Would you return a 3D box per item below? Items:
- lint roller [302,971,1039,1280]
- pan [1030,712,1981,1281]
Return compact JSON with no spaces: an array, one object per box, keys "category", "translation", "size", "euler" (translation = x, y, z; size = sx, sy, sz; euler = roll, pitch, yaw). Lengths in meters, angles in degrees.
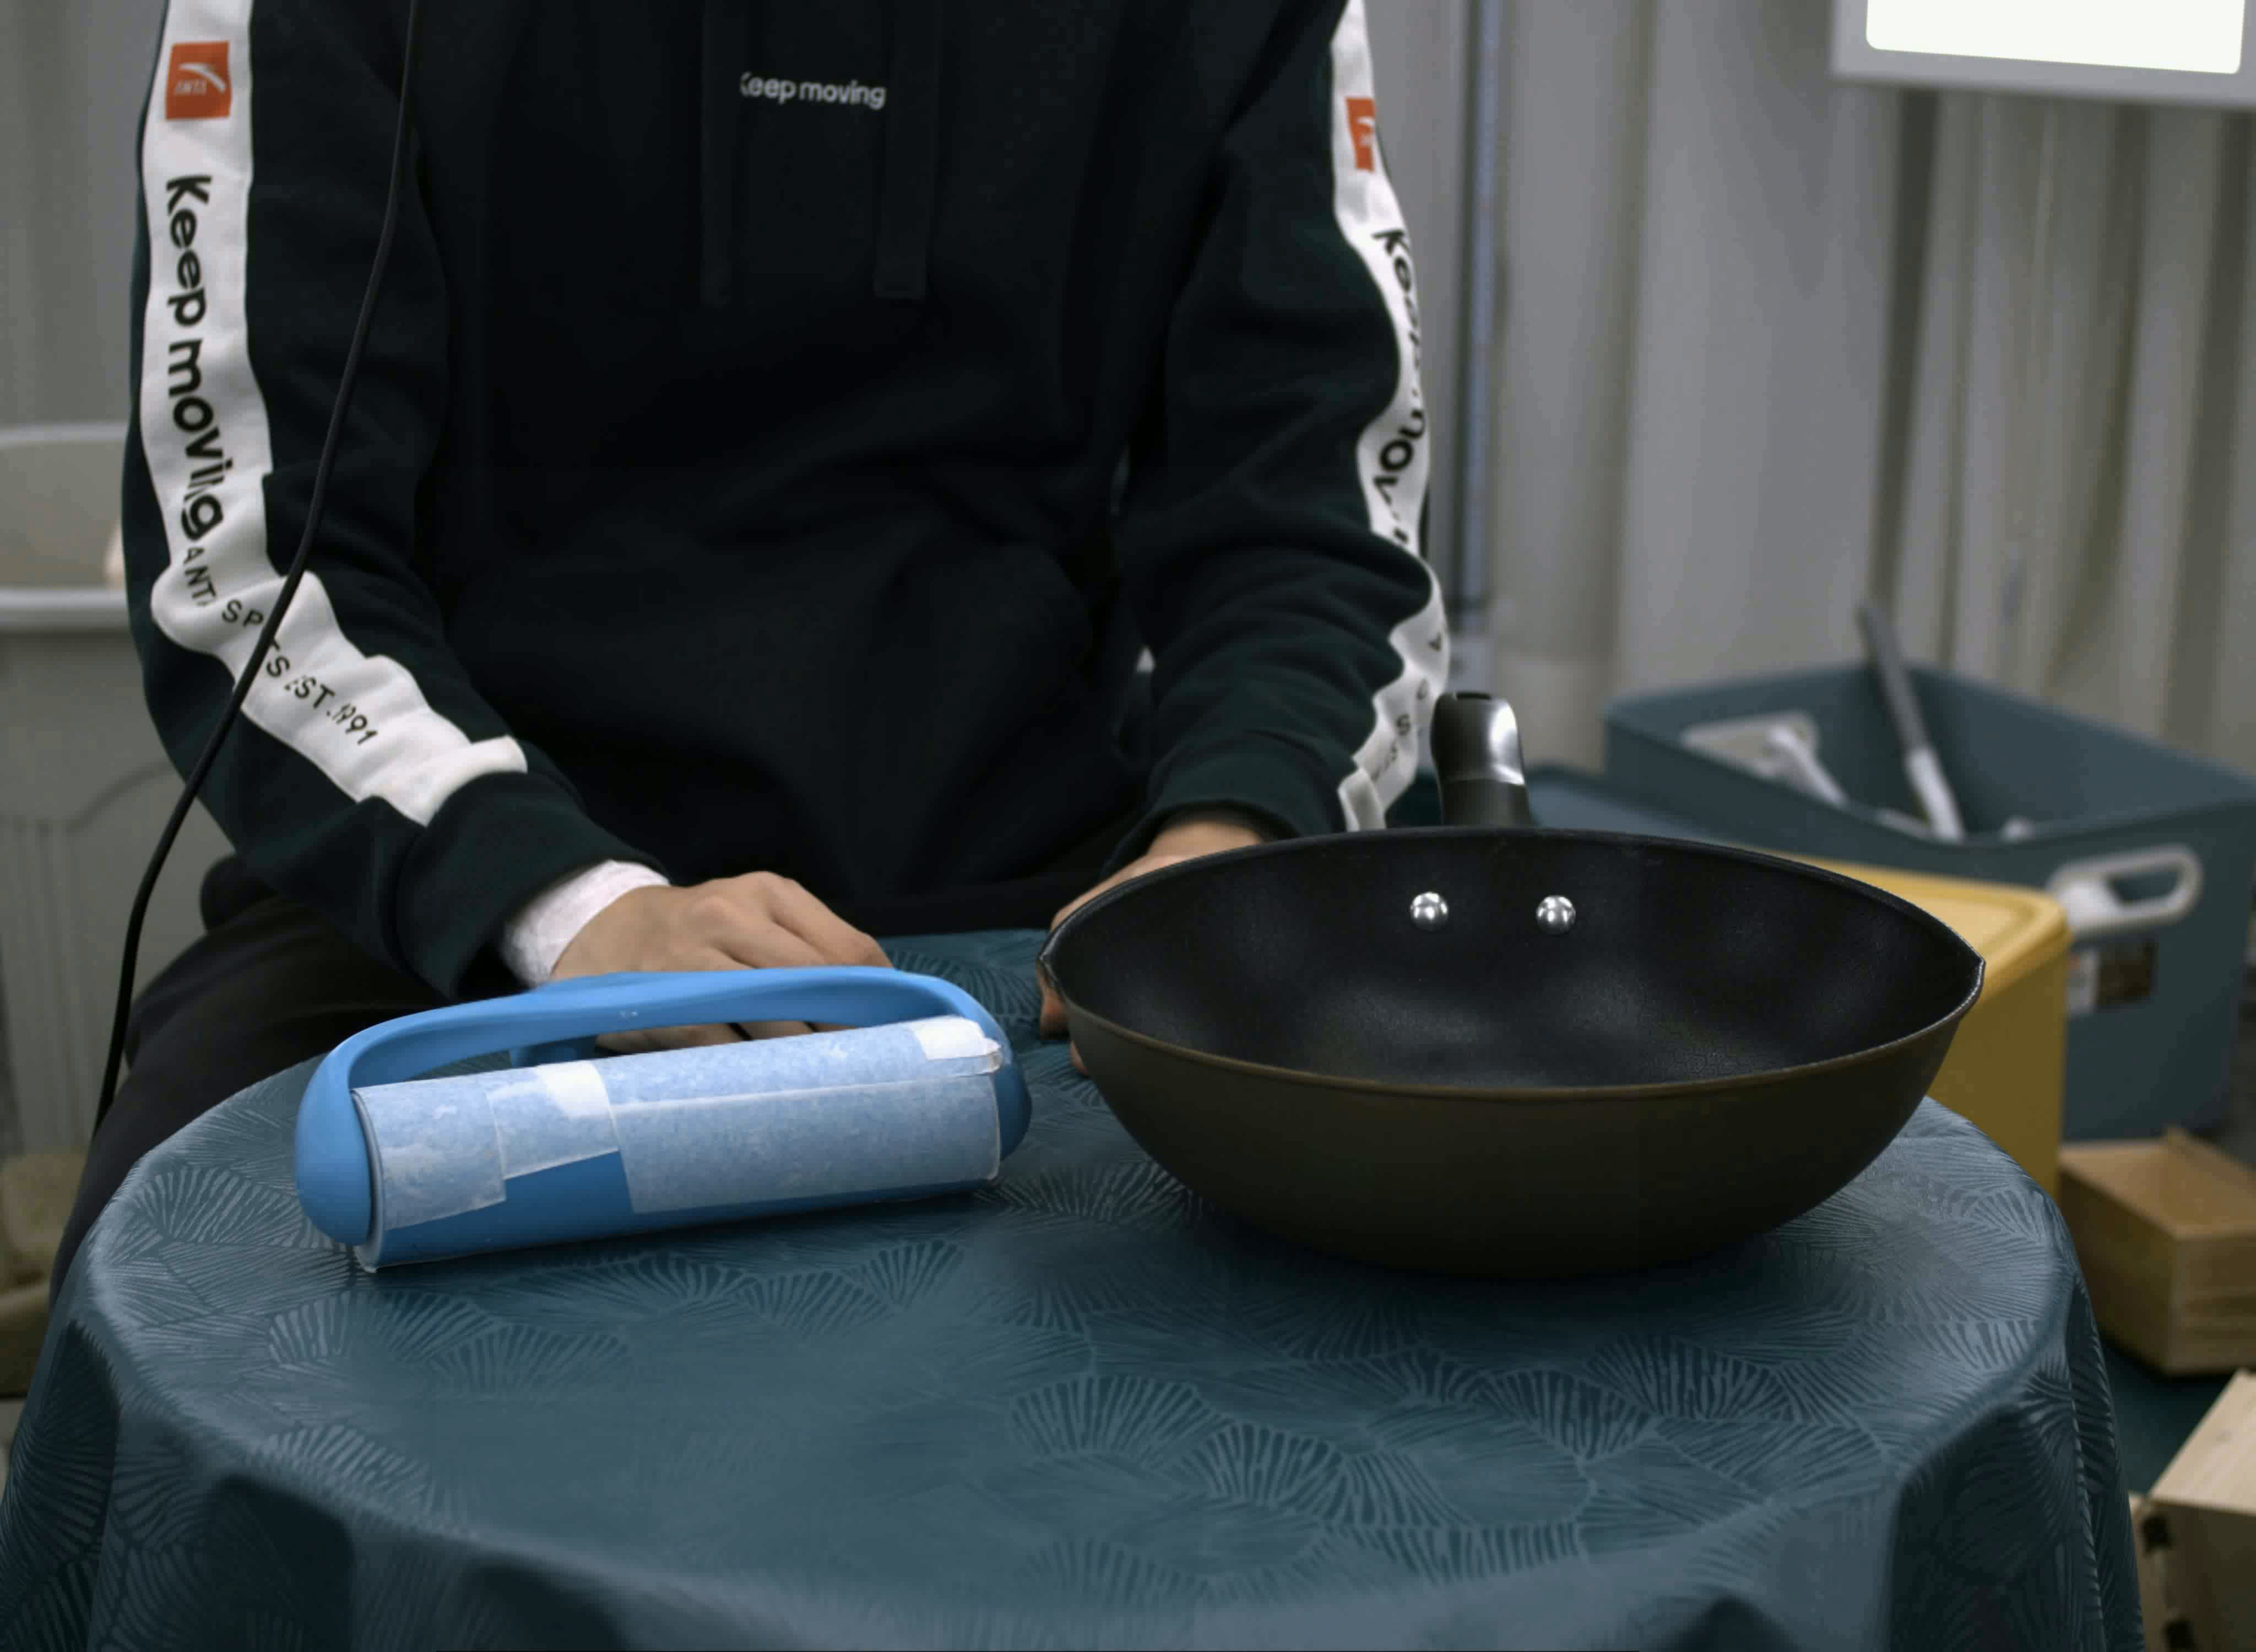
[{"category":"lint roller","translation":[-0.159,0.080,1.628],"size":[0.229,0.068,0.178],"euler":[-9,19,-24]},{"category":"pan","translation":[0.116,0.052,1.688],"size":[0.287,0.087,0.461],"euler":[1,15,1]}]
